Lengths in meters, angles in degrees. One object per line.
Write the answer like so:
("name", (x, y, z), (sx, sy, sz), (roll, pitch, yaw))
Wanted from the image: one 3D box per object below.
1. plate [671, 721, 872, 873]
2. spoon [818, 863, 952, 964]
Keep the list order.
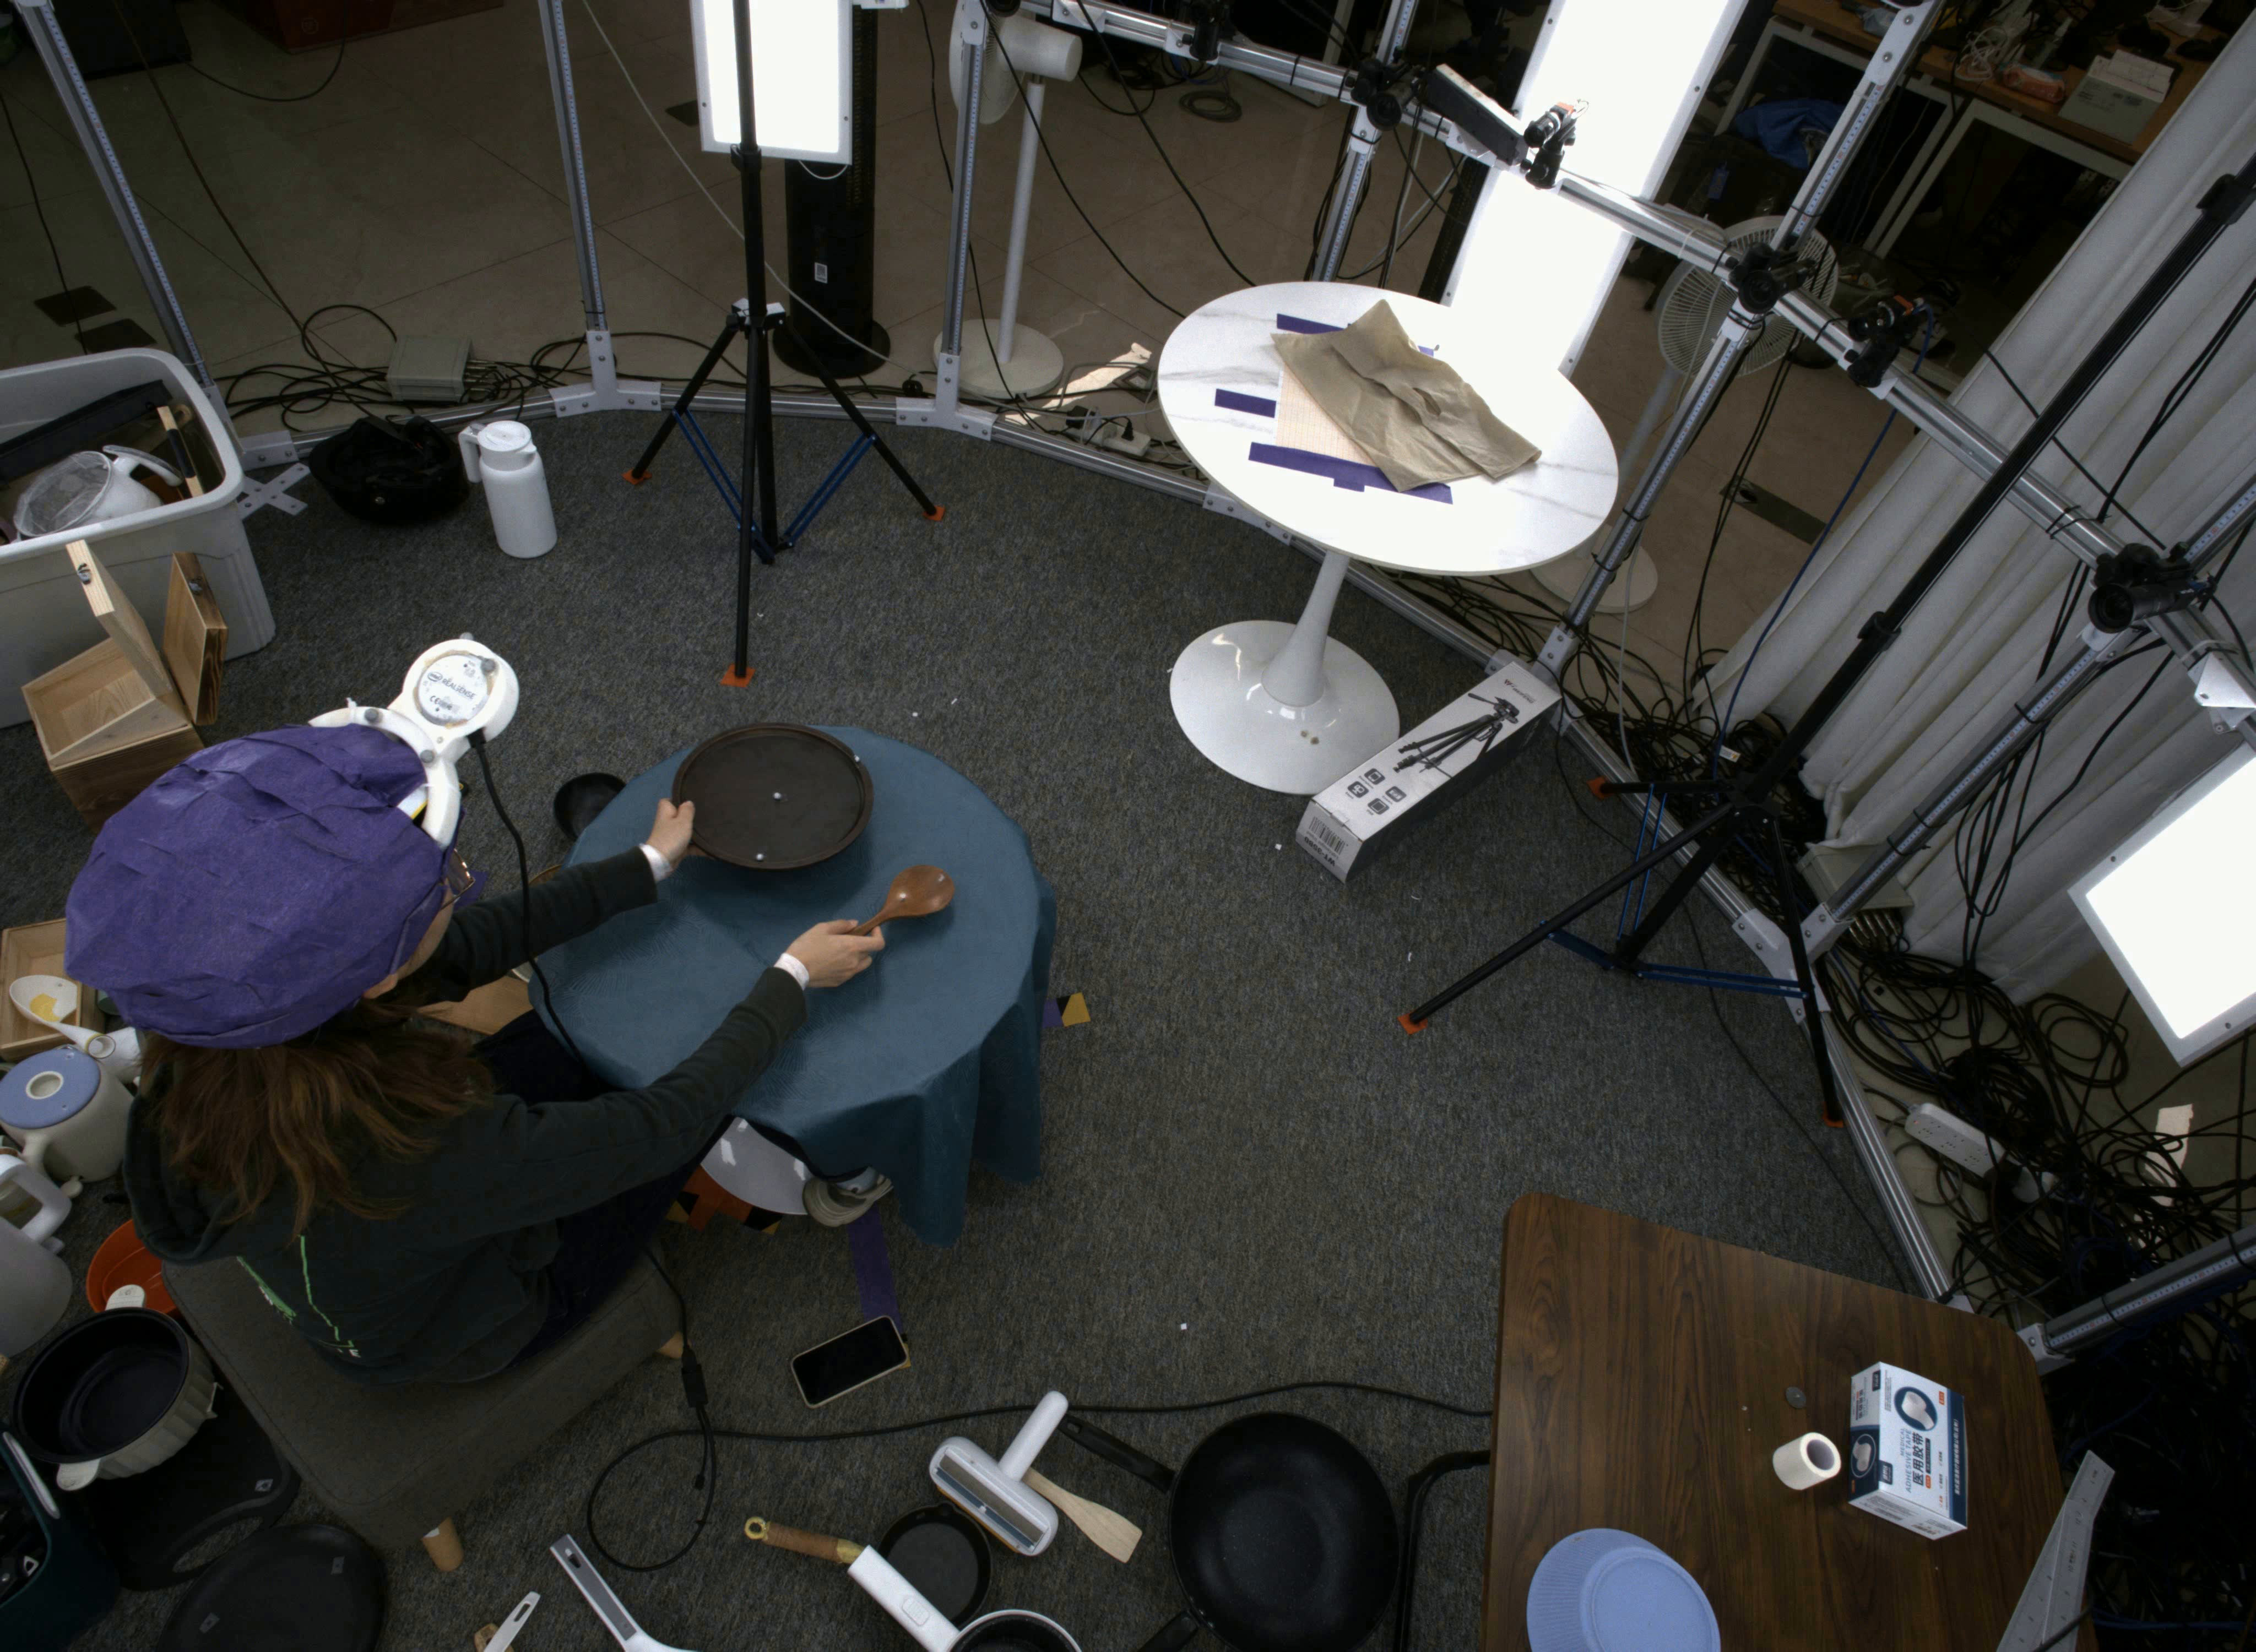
("plate", (-0.457, -0.040, 1.662), (0.254, 0.029, 0.250), (10, 48, -9))
("spoon", (-0.304, 0.109, 1.623), (0.074, 0.017, 0.216), (43, 45, 11))
